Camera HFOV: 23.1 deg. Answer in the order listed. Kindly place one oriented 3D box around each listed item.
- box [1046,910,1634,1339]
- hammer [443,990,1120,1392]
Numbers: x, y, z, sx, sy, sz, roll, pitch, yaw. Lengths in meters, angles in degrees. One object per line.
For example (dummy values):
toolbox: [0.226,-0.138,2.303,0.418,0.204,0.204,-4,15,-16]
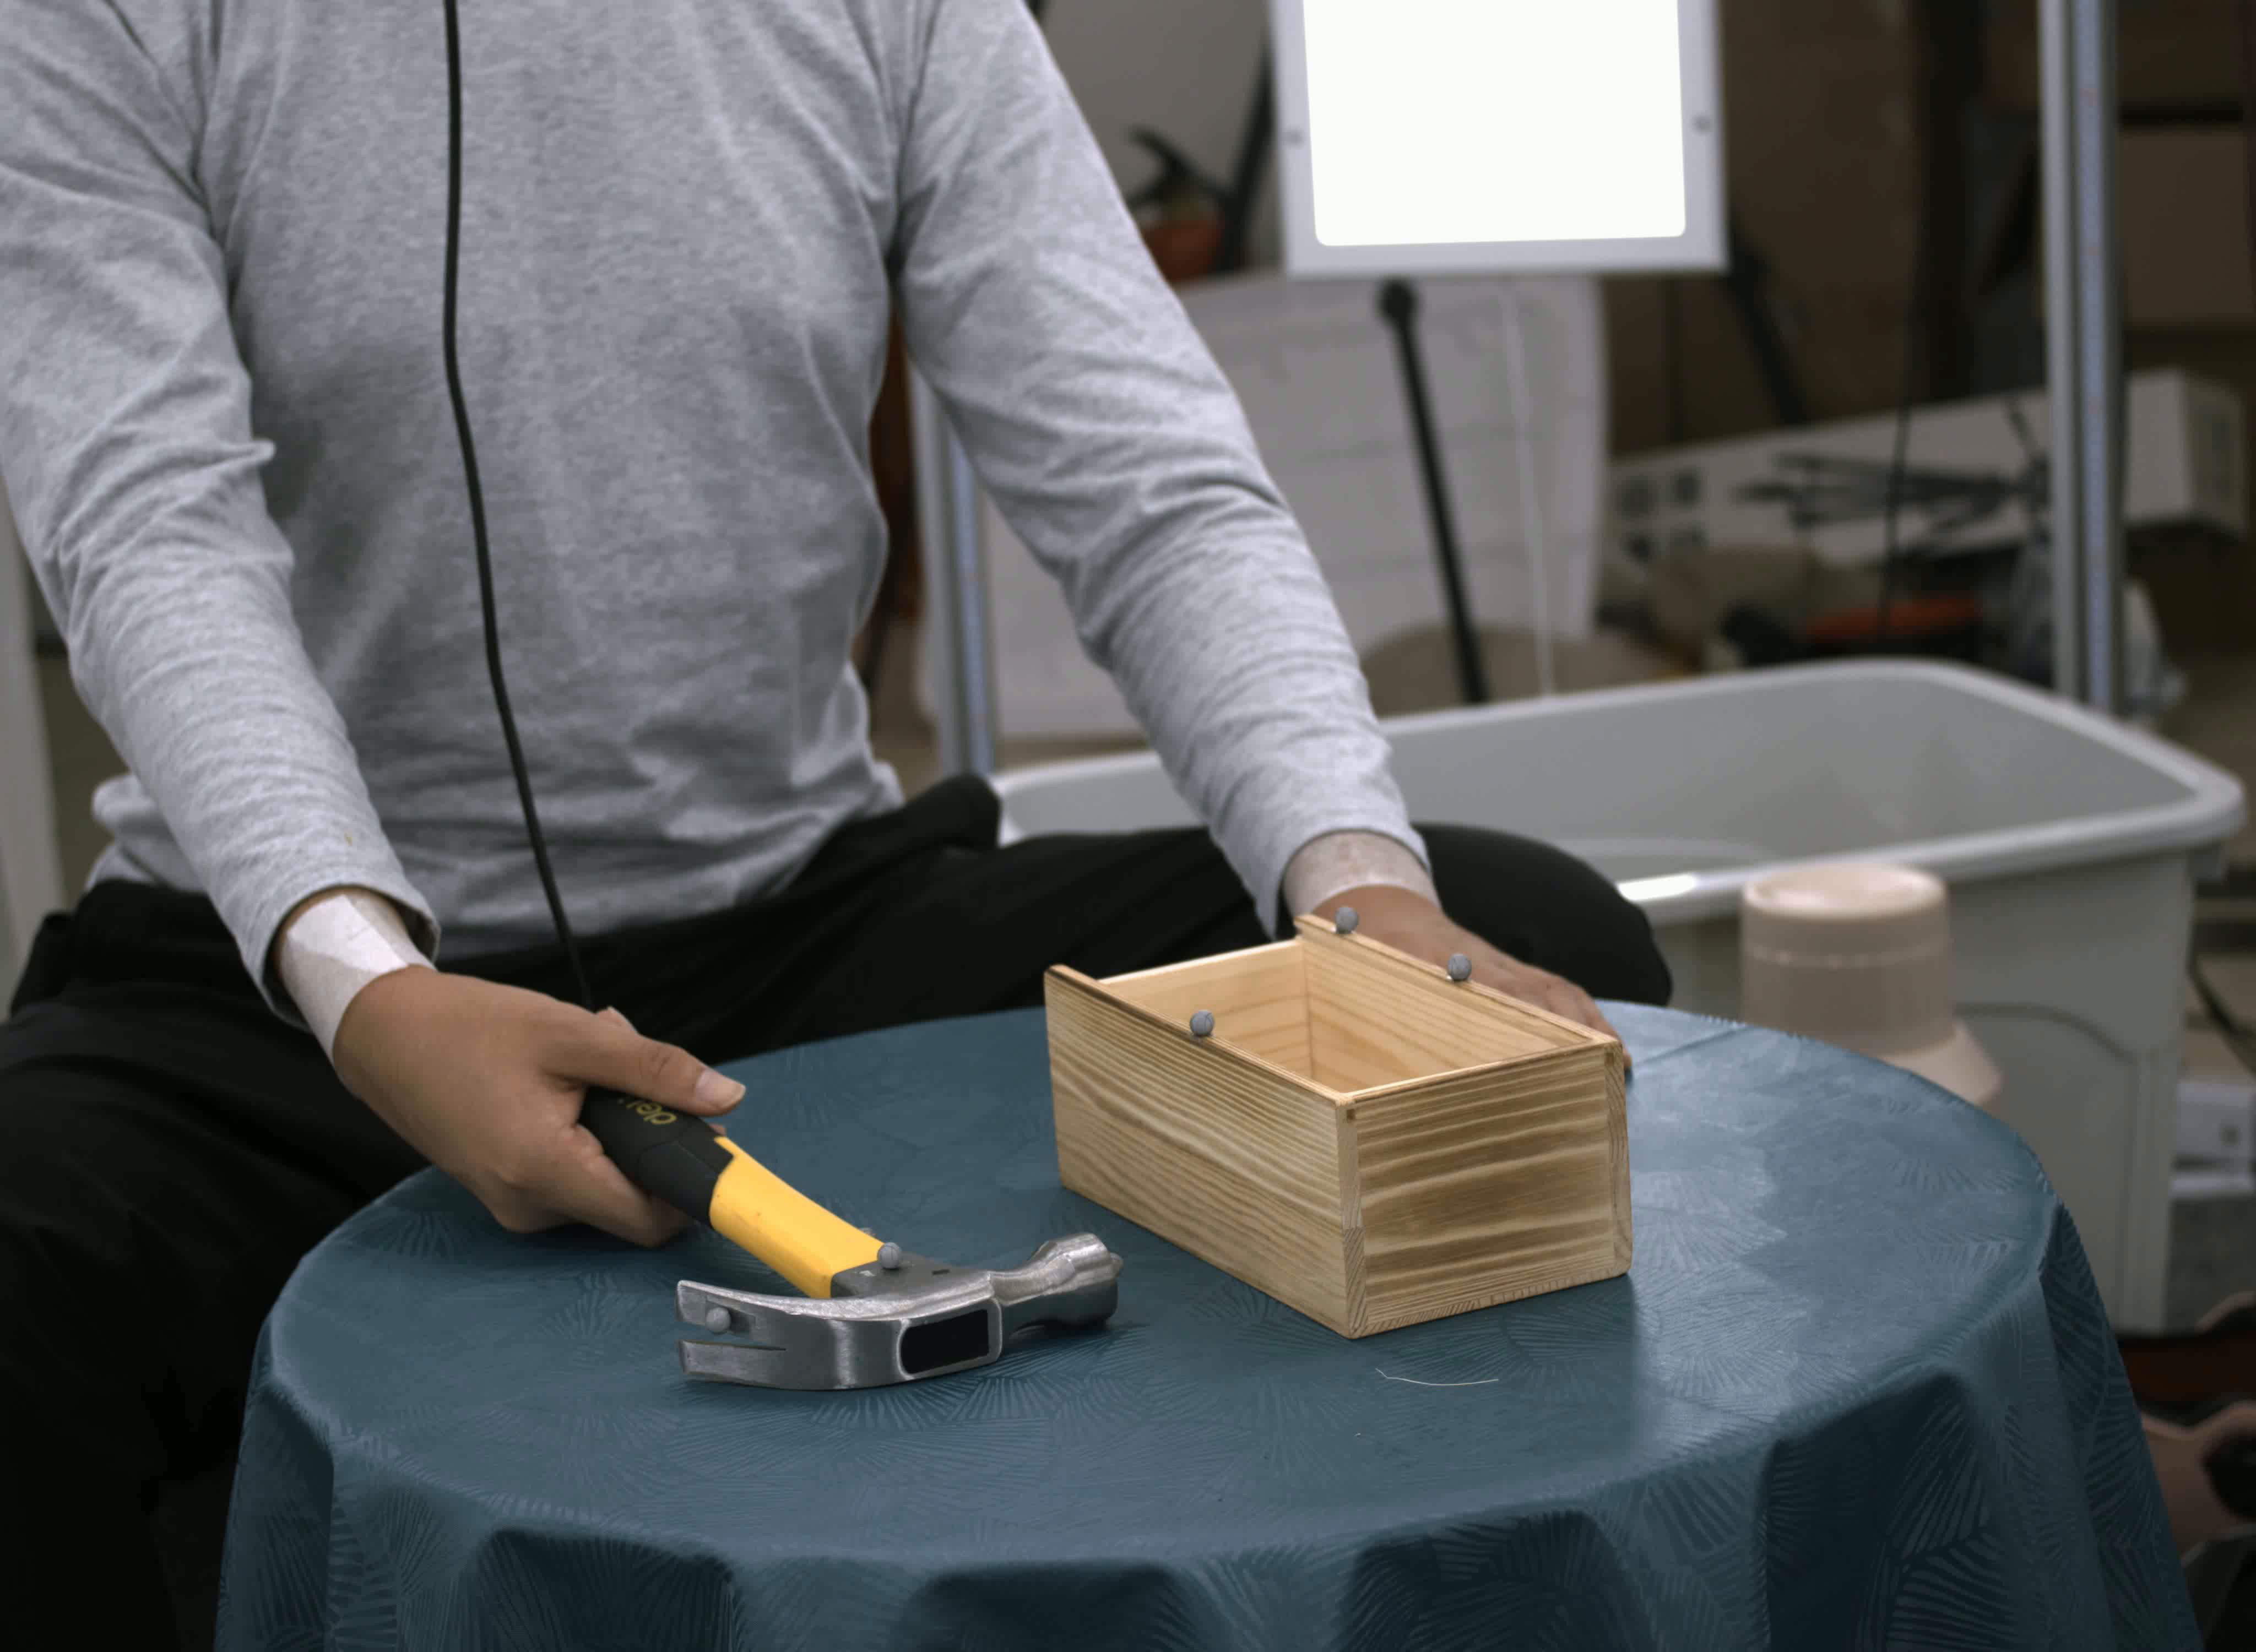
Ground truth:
box: [0.068,0.096,1.830,0.105,0.080,0.215,-12,15,-24]
hammer: [-0.145,0.116,1.863,0.128,0.032,0.344,-15,23,-28]
